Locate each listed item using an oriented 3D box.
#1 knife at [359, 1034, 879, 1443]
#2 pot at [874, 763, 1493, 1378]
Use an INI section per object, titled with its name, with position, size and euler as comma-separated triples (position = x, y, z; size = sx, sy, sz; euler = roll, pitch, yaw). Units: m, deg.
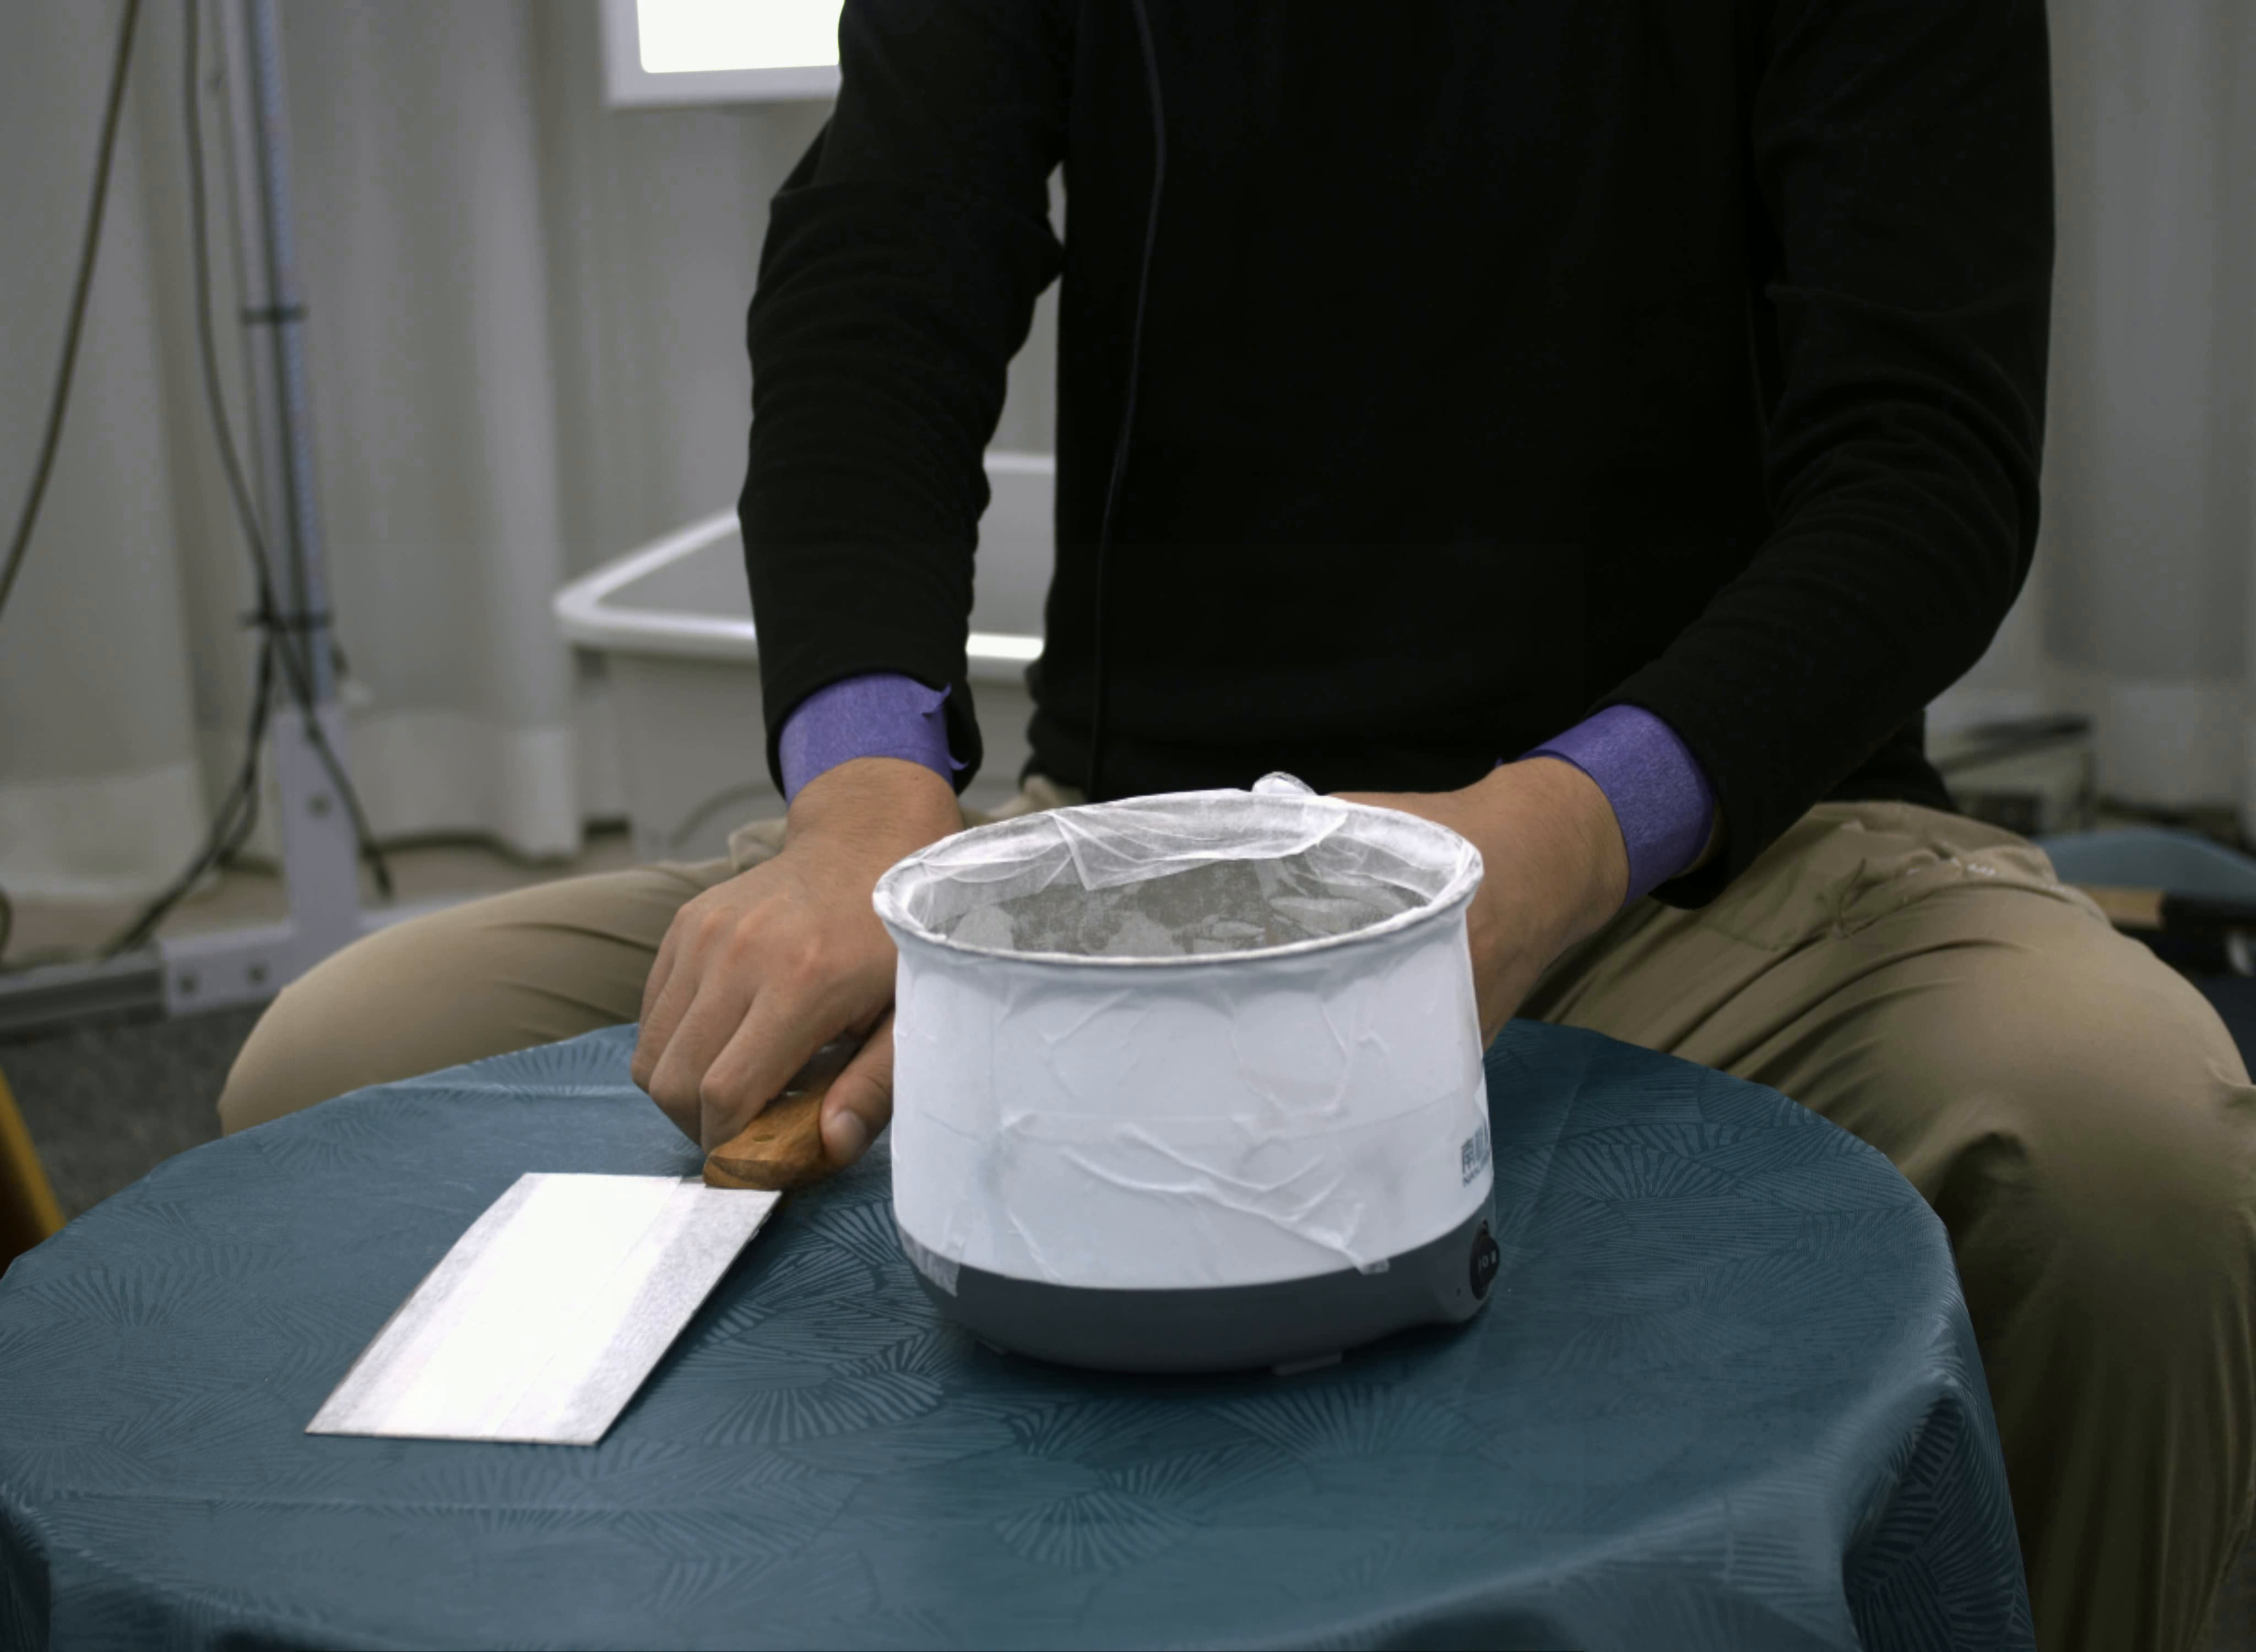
[knife]
position = -0.154, 0.123, 1.672
size = 0.093, 0.021, 0.307
euler = 3, 19, 14
[pot]
position = 0.025, 0.066, 1.621
size = 0.179, 0.136, 0.234
euler = 2, 16, 17
